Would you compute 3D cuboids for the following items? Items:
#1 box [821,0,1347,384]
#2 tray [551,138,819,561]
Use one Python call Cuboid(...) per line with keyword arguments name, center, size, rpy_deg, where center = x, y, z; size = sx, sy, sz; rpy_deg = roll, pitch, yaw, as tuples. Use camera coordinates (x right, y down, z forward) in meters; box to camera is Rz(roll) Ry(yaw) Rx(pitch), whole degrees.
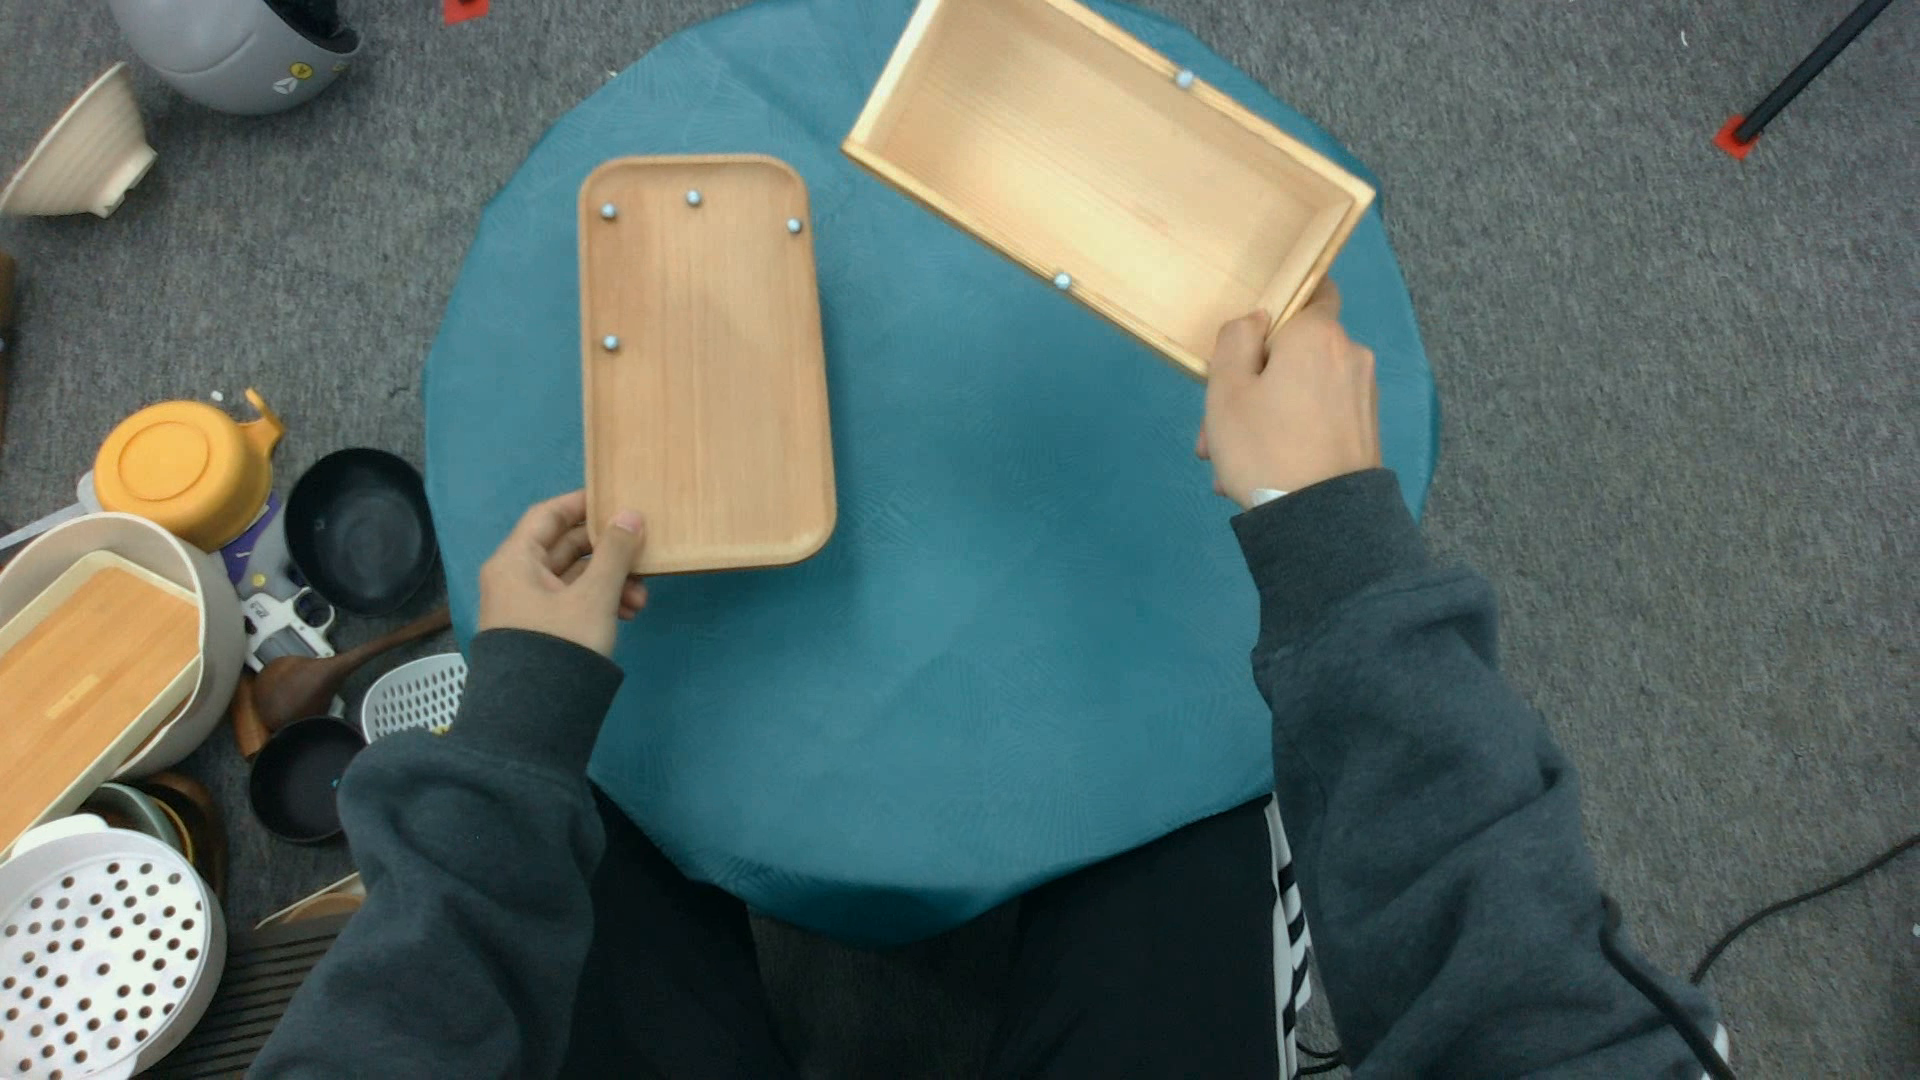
Cuboid(name="box", center=(0.056, -0.175, 0.644), size=(0.211, 0.080, 0.107), rpy_deg=(31, 98, -5))
Cuboid(name="tray", center=(-0.150, -0.108, 0.743), size=(0.130, 0.023, 0.251), rpy_deg=(-5, 70, -7))
